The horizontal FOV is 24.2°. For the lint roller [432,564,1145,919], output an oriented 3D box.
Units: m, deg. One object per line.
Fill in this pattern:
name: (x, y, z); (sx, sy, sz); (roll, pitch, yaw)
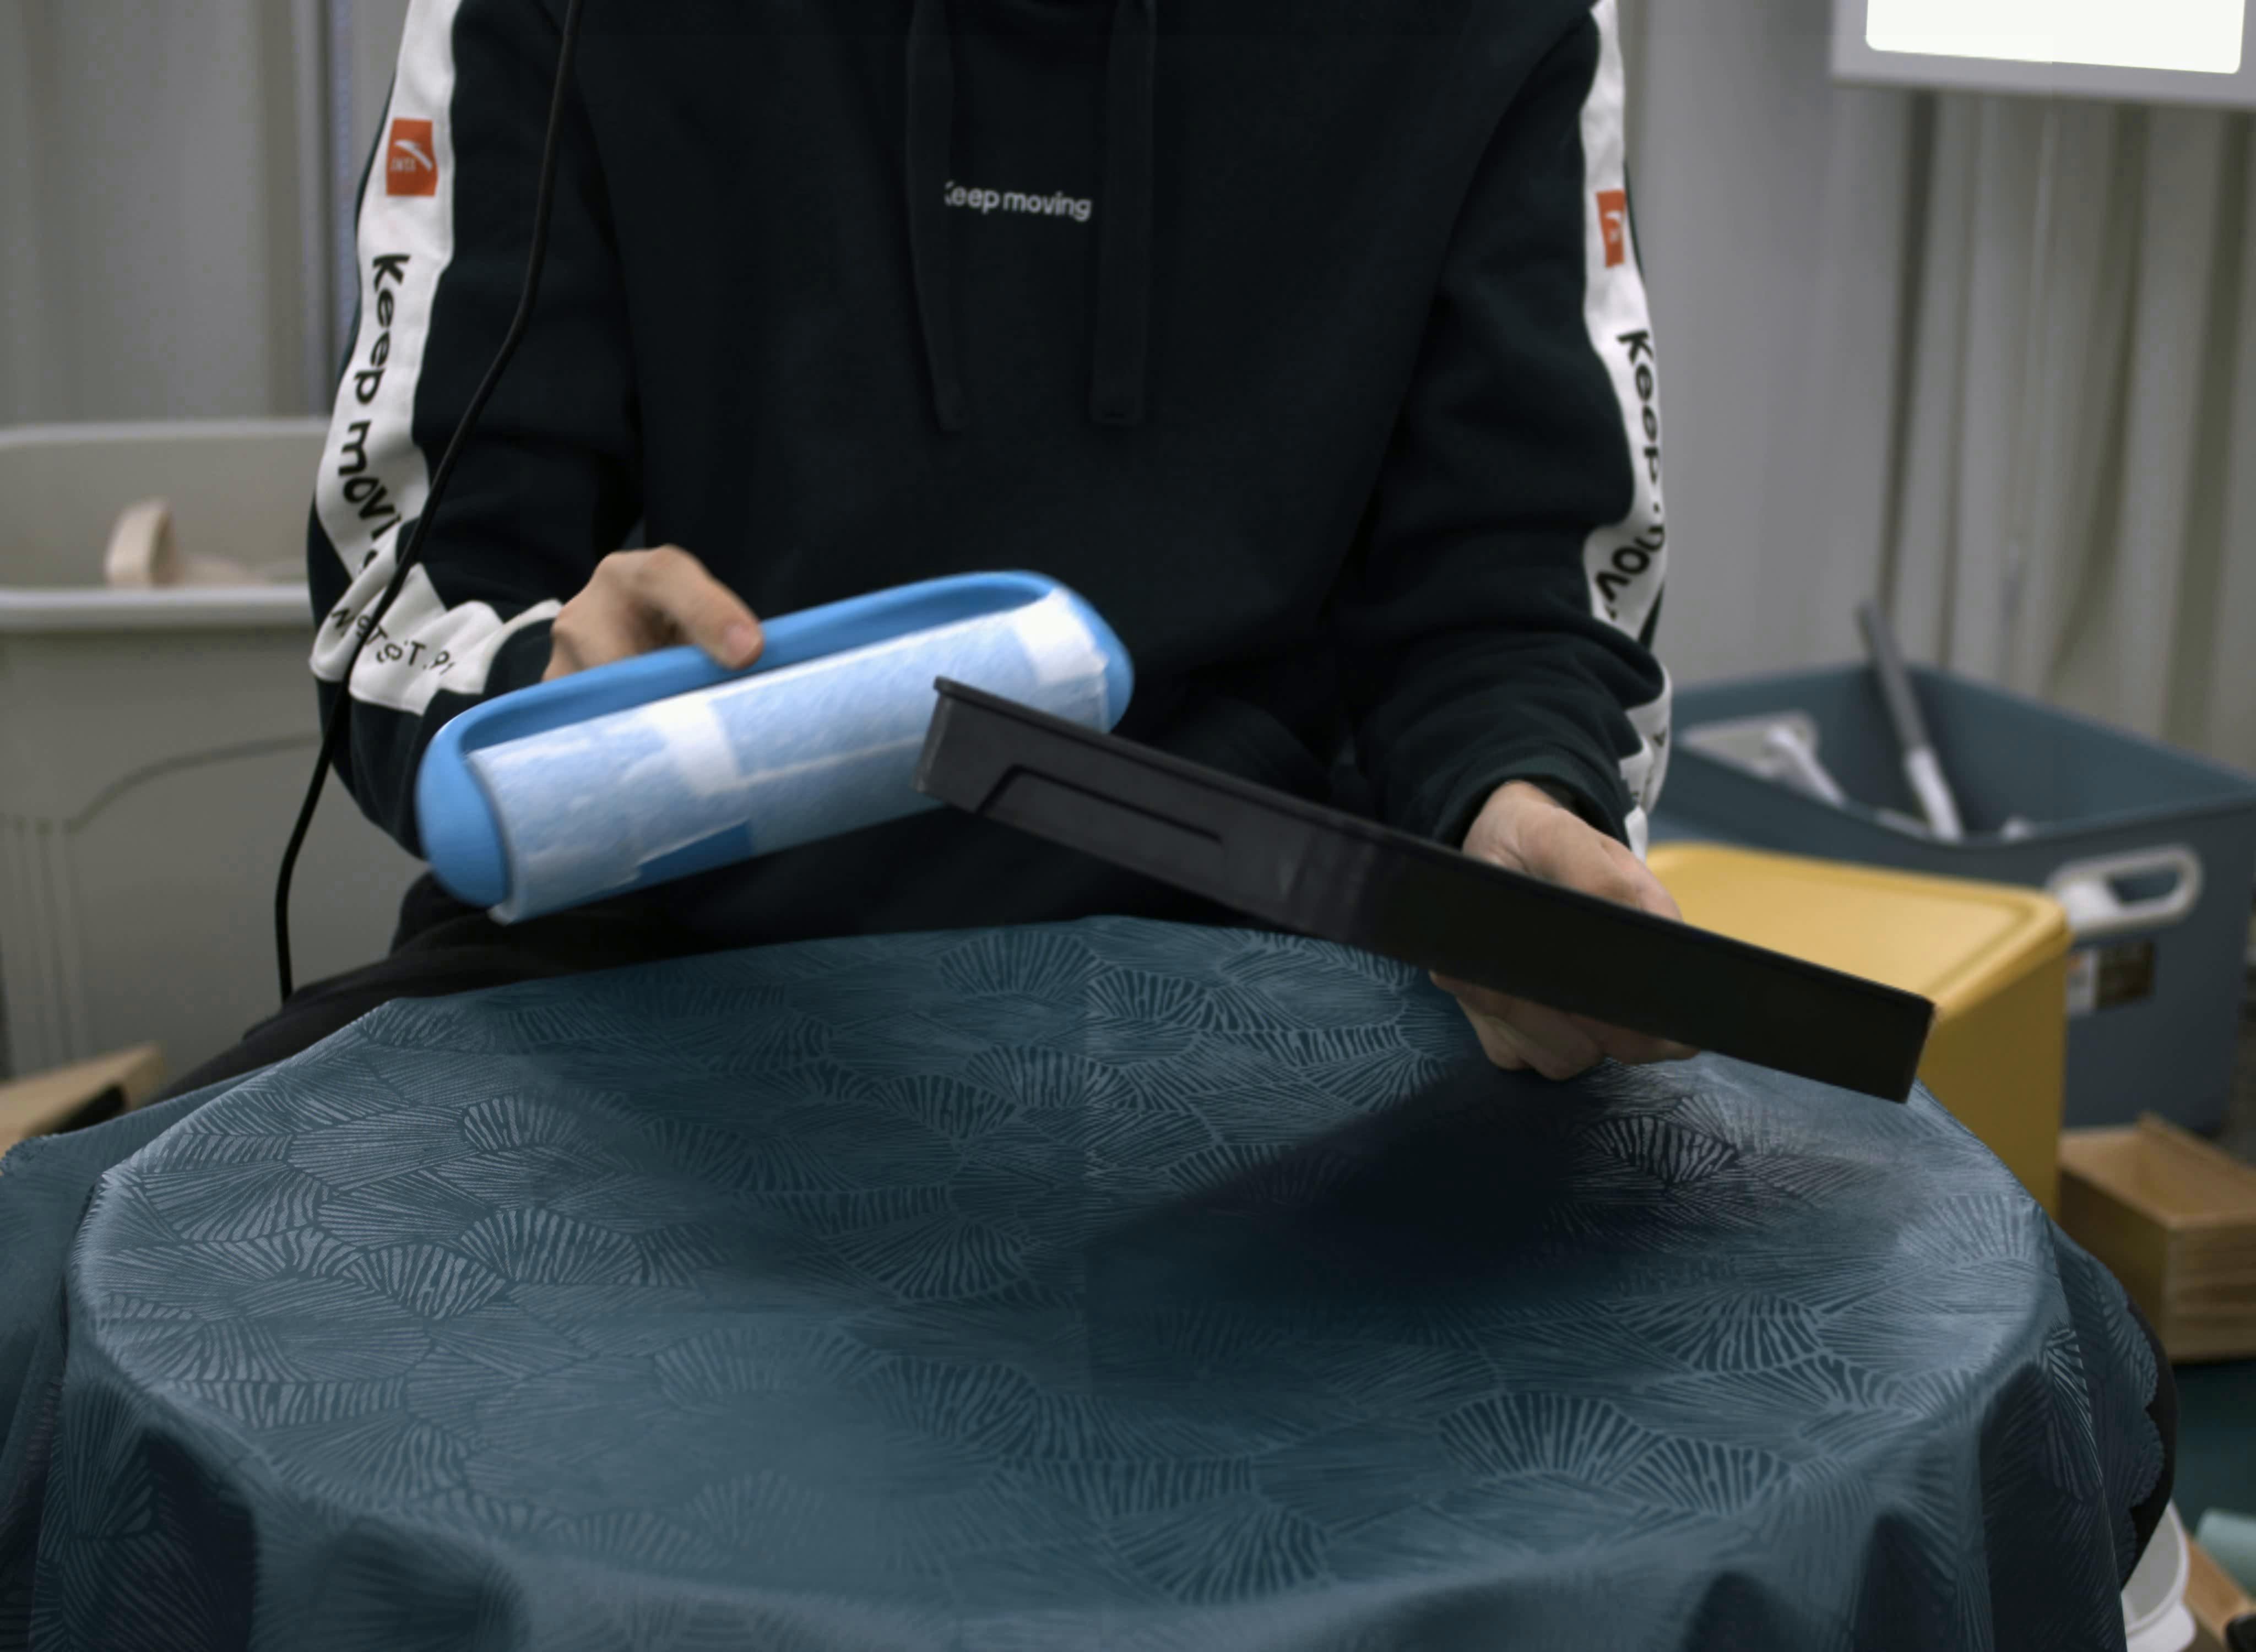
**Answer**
lint roller: (-0.125, -0.030, 1.649); (0.229, 0.068, 0.178); (-19, 13, -23)

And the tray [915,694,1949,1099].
tray: (0.095, 0.024, 1.574); (0.182, 0.037, 0.321); (17, 1, 39)
